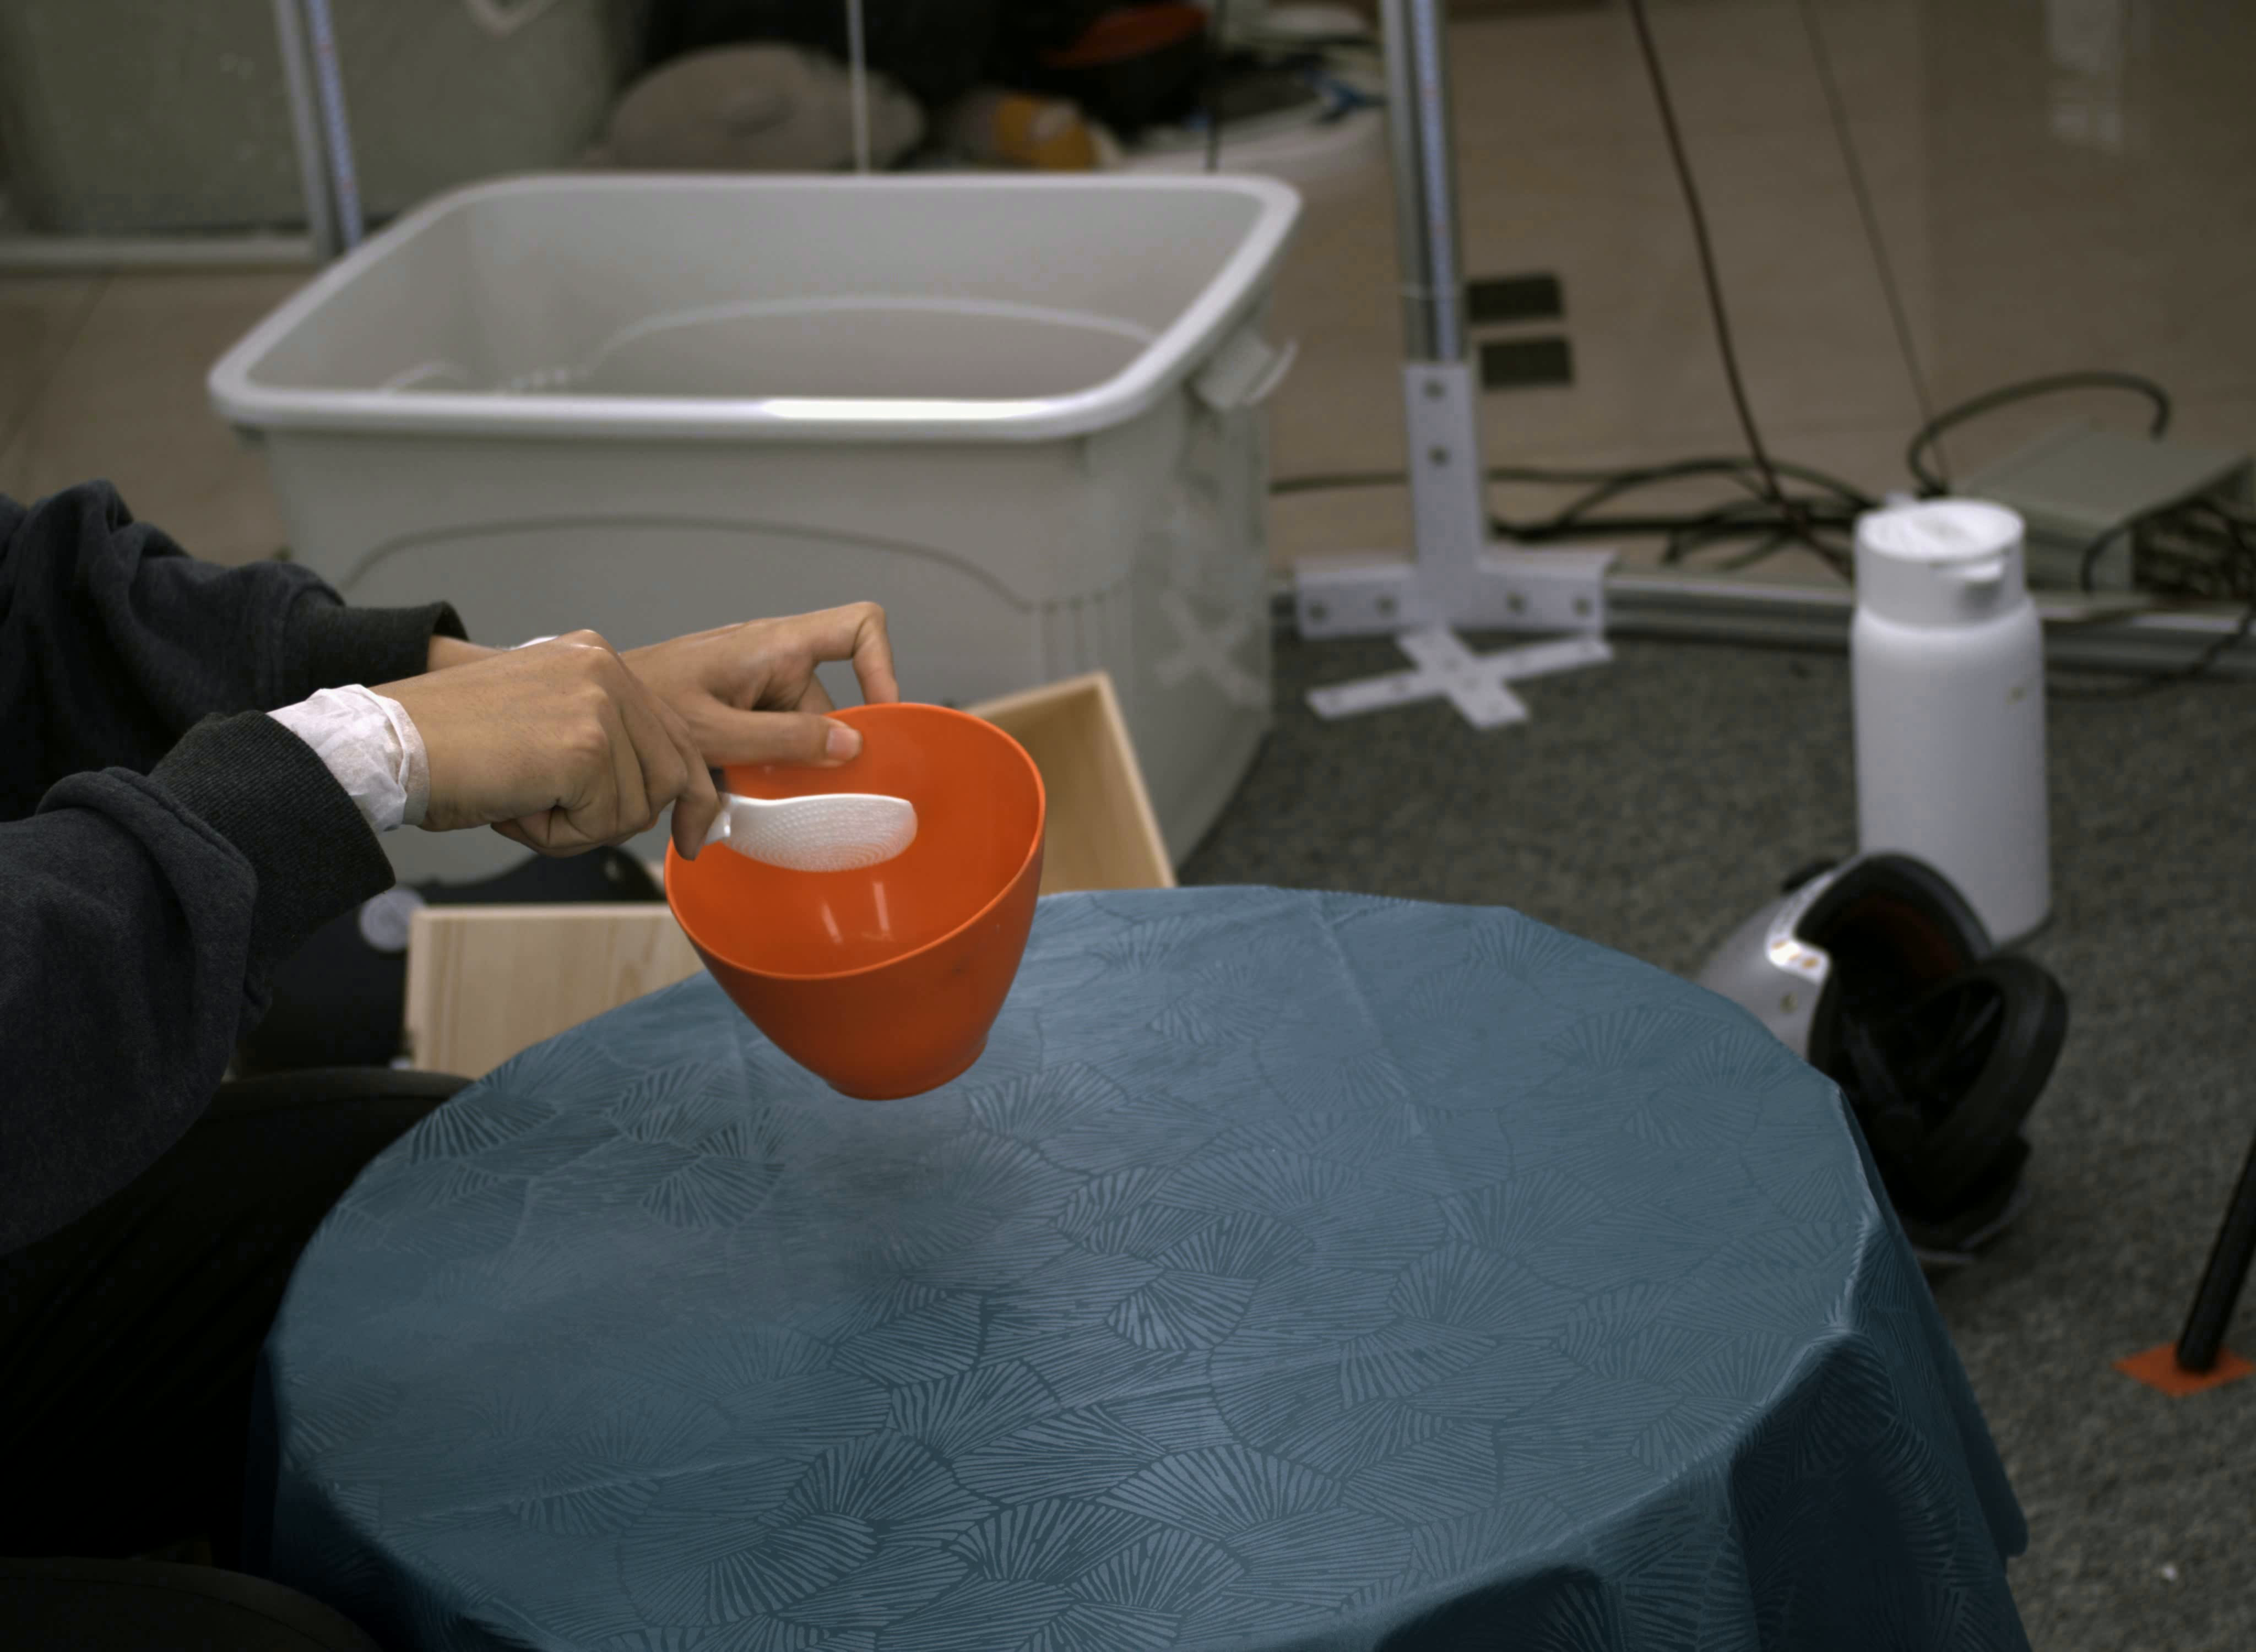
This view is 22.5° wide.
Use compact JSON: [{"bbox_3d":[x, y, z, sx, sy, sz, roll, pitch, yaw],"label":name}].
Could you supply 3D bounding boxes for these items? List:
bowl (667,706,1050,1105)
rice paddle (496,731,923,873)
[{"bbox_3d":[-0.094,0.038,2.144,0.148,0.106,0.145,-8,34,6],"label":"bowl"},{"bbox_3d":[-0.150,-0.006,2.059,0.069,0.029,0.206,-19,-18,33],"label":"rice paddle"}]
